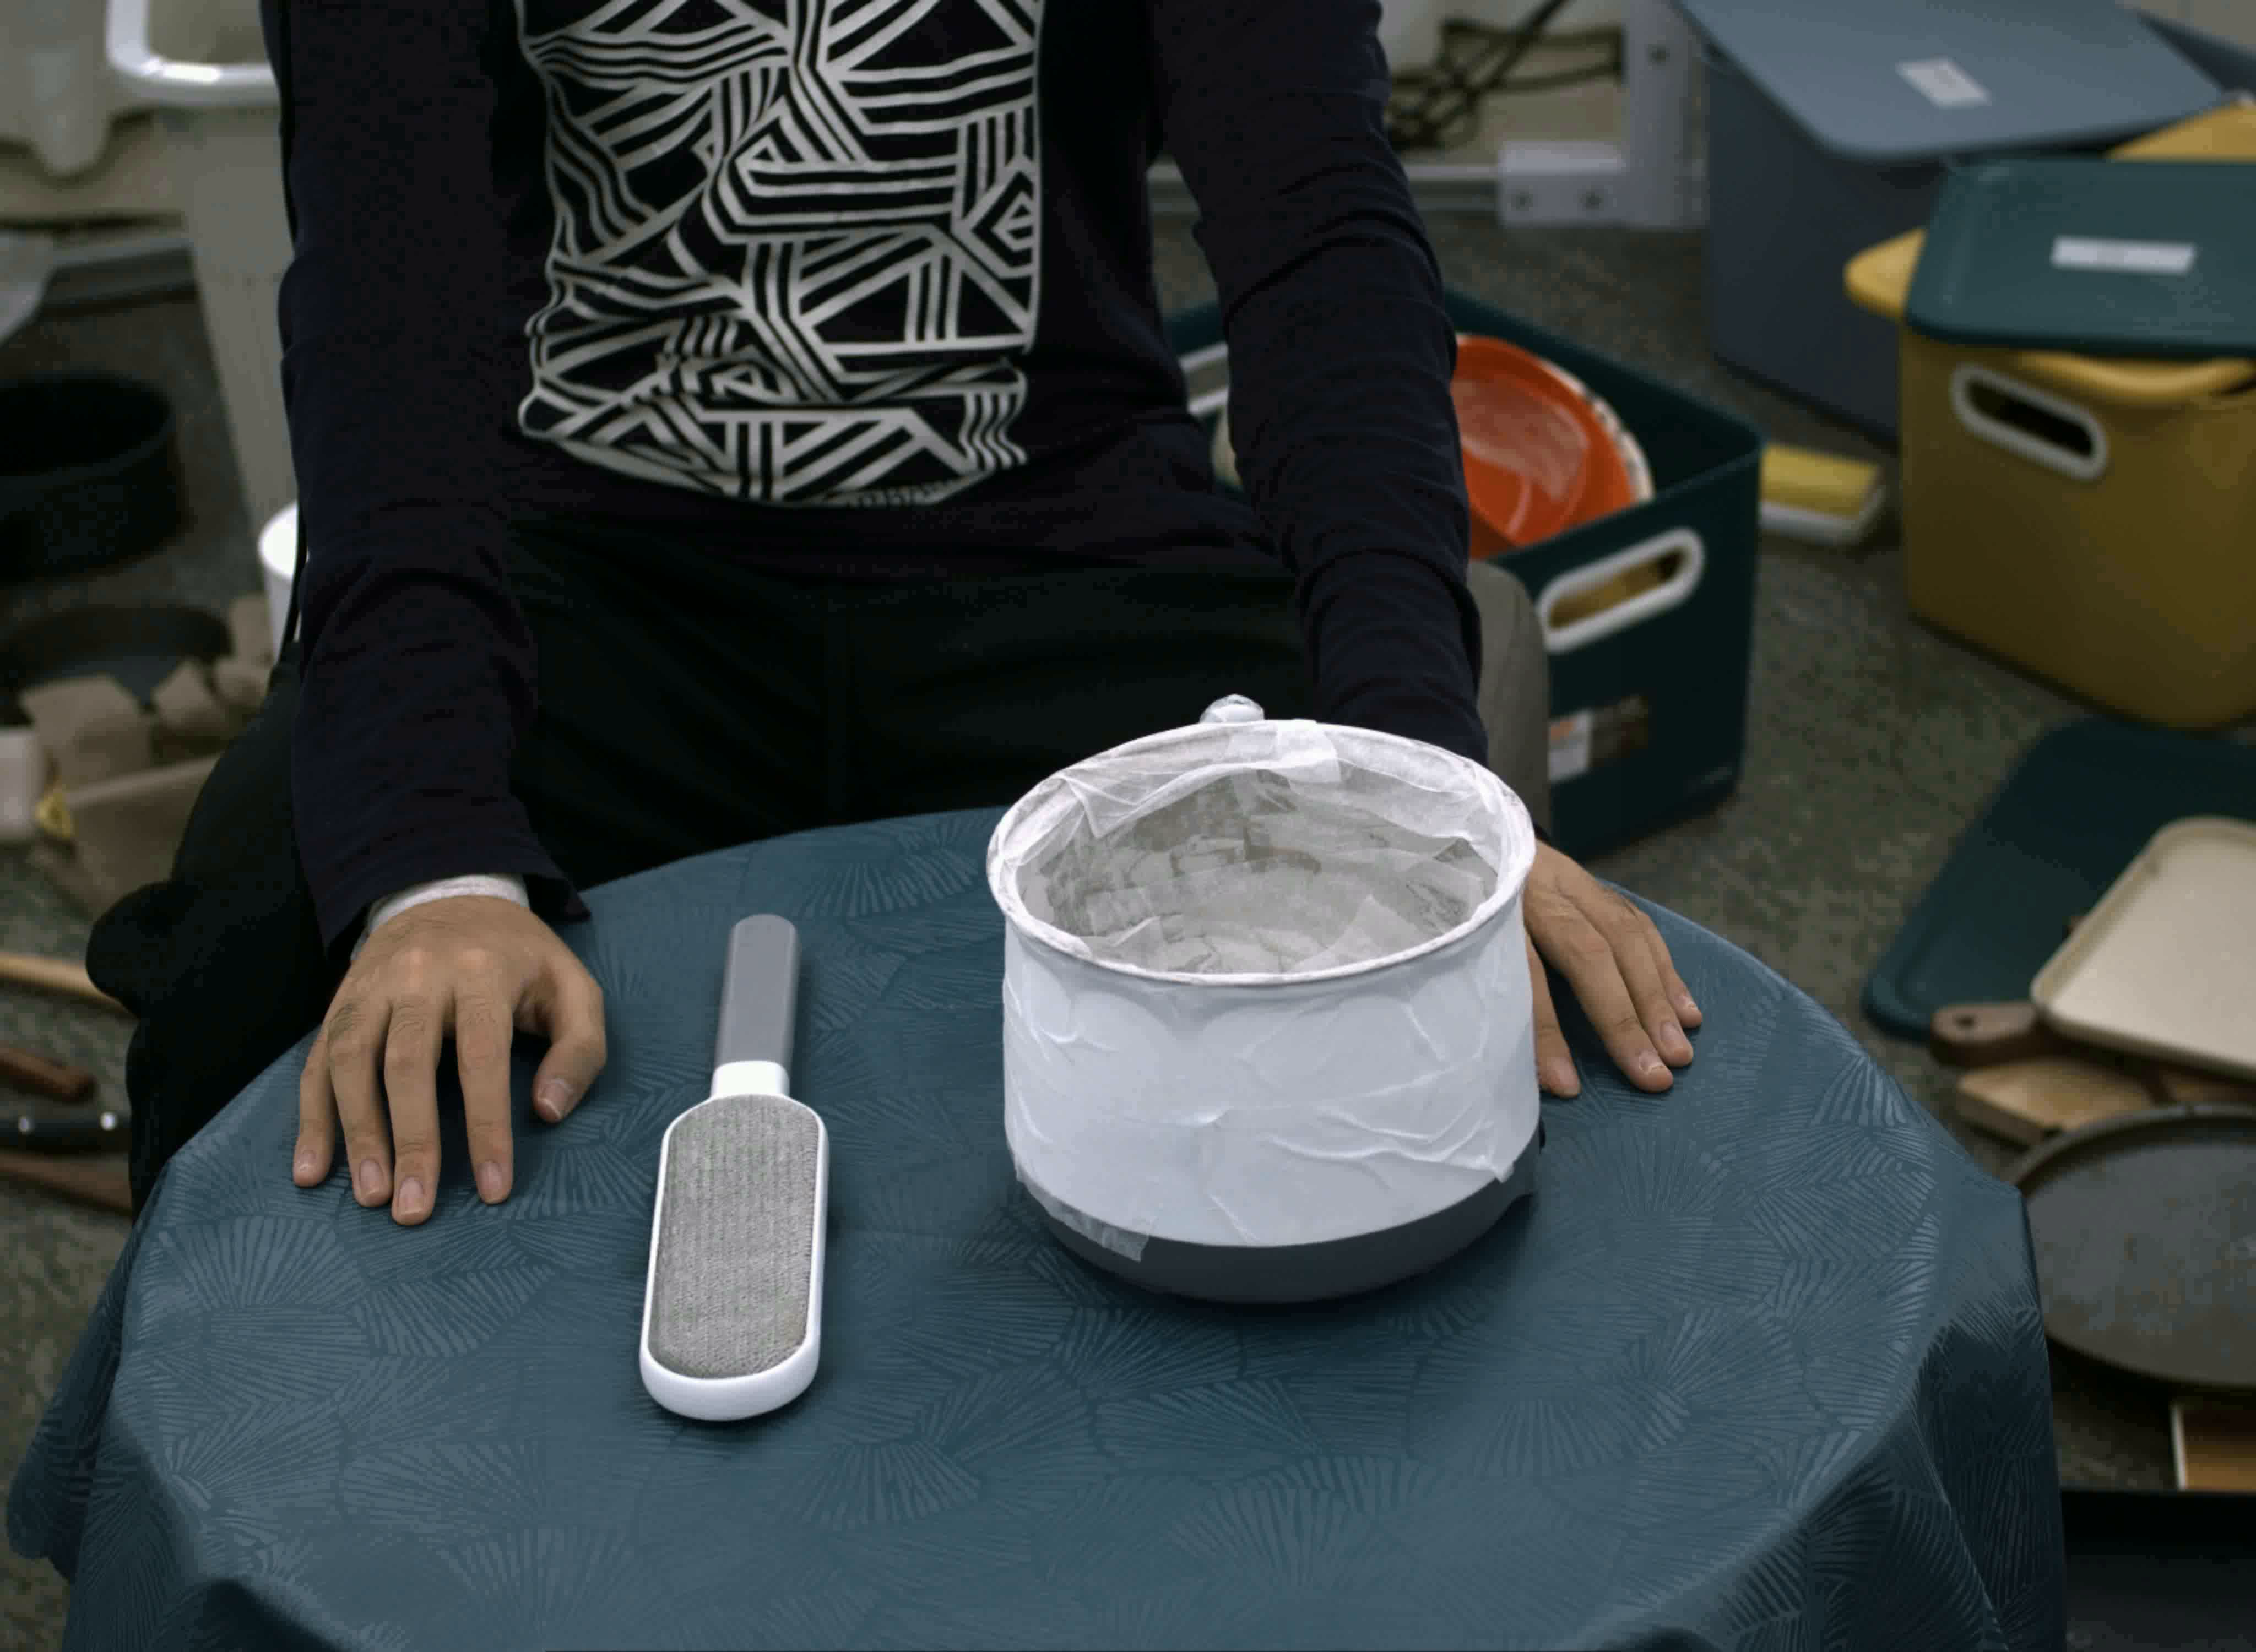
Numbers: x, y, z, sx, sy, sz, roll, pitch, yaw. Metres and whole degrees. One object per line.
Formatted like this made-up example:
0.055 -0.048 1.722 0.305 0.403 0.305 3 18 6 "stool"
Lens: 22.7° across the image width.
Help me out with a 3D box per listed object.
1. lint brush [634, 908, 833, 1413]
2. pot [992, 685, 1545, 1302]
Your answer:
-0.127 0.106 1.874 0.060 0.021 0.313 -8 27 3 "lint brush"
0.043 0.047 1.849 0.178 0.135 0.237 -3 27 -5 "pot"
